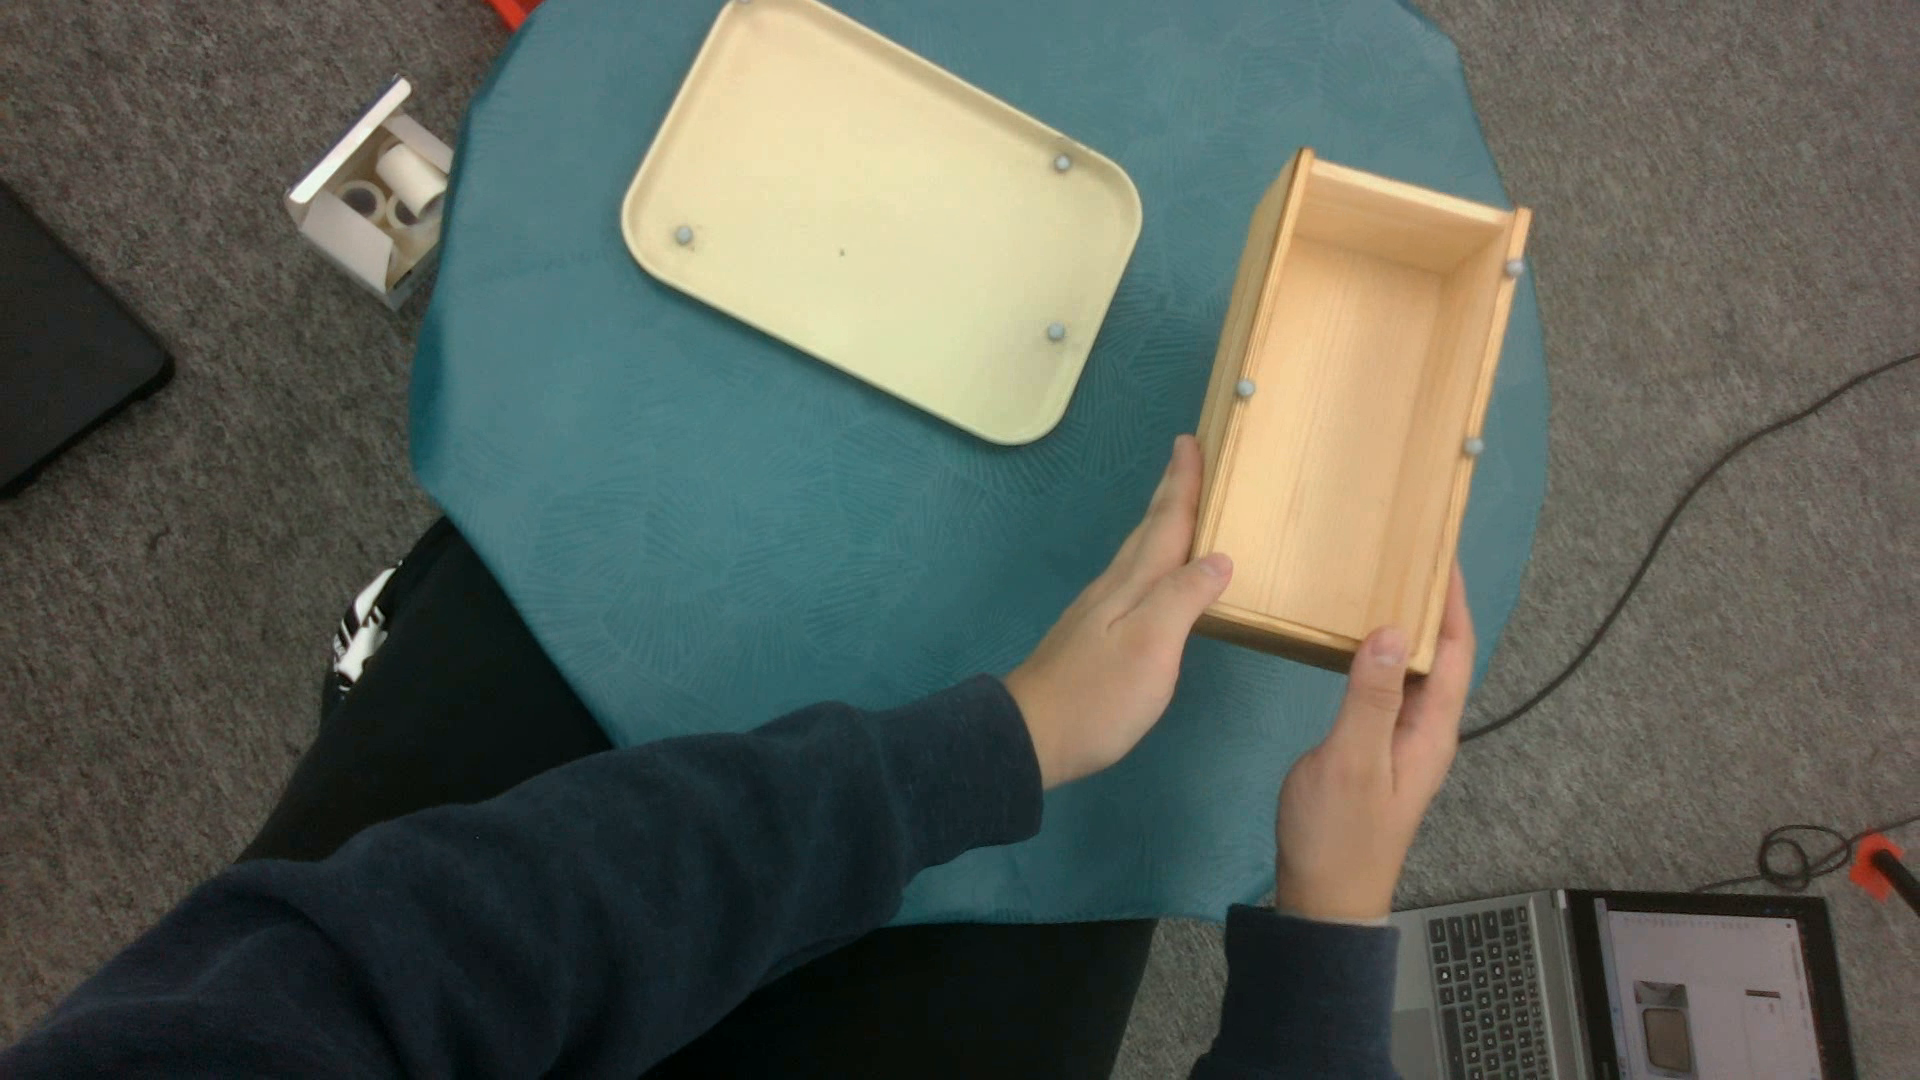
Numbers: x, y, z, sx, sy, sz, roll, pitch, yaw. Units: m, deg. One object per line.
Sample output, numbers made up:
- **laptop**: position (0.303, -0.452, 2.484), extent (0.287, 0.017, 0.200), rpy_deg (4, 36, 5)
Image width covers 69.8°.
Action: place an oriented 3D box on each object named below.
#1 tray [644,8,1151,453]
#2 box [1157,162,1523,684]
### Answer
- **tray**: position (-0.028, -0.160, 0.717), extent (0.240, 0.017, 0.171), rpy_deg (26, 77, -9)
- **box**: position (0.171, -0.050, 0.632), extent (0.107, 0.080, 0.212), rpy_deg (14, 81, 1)
